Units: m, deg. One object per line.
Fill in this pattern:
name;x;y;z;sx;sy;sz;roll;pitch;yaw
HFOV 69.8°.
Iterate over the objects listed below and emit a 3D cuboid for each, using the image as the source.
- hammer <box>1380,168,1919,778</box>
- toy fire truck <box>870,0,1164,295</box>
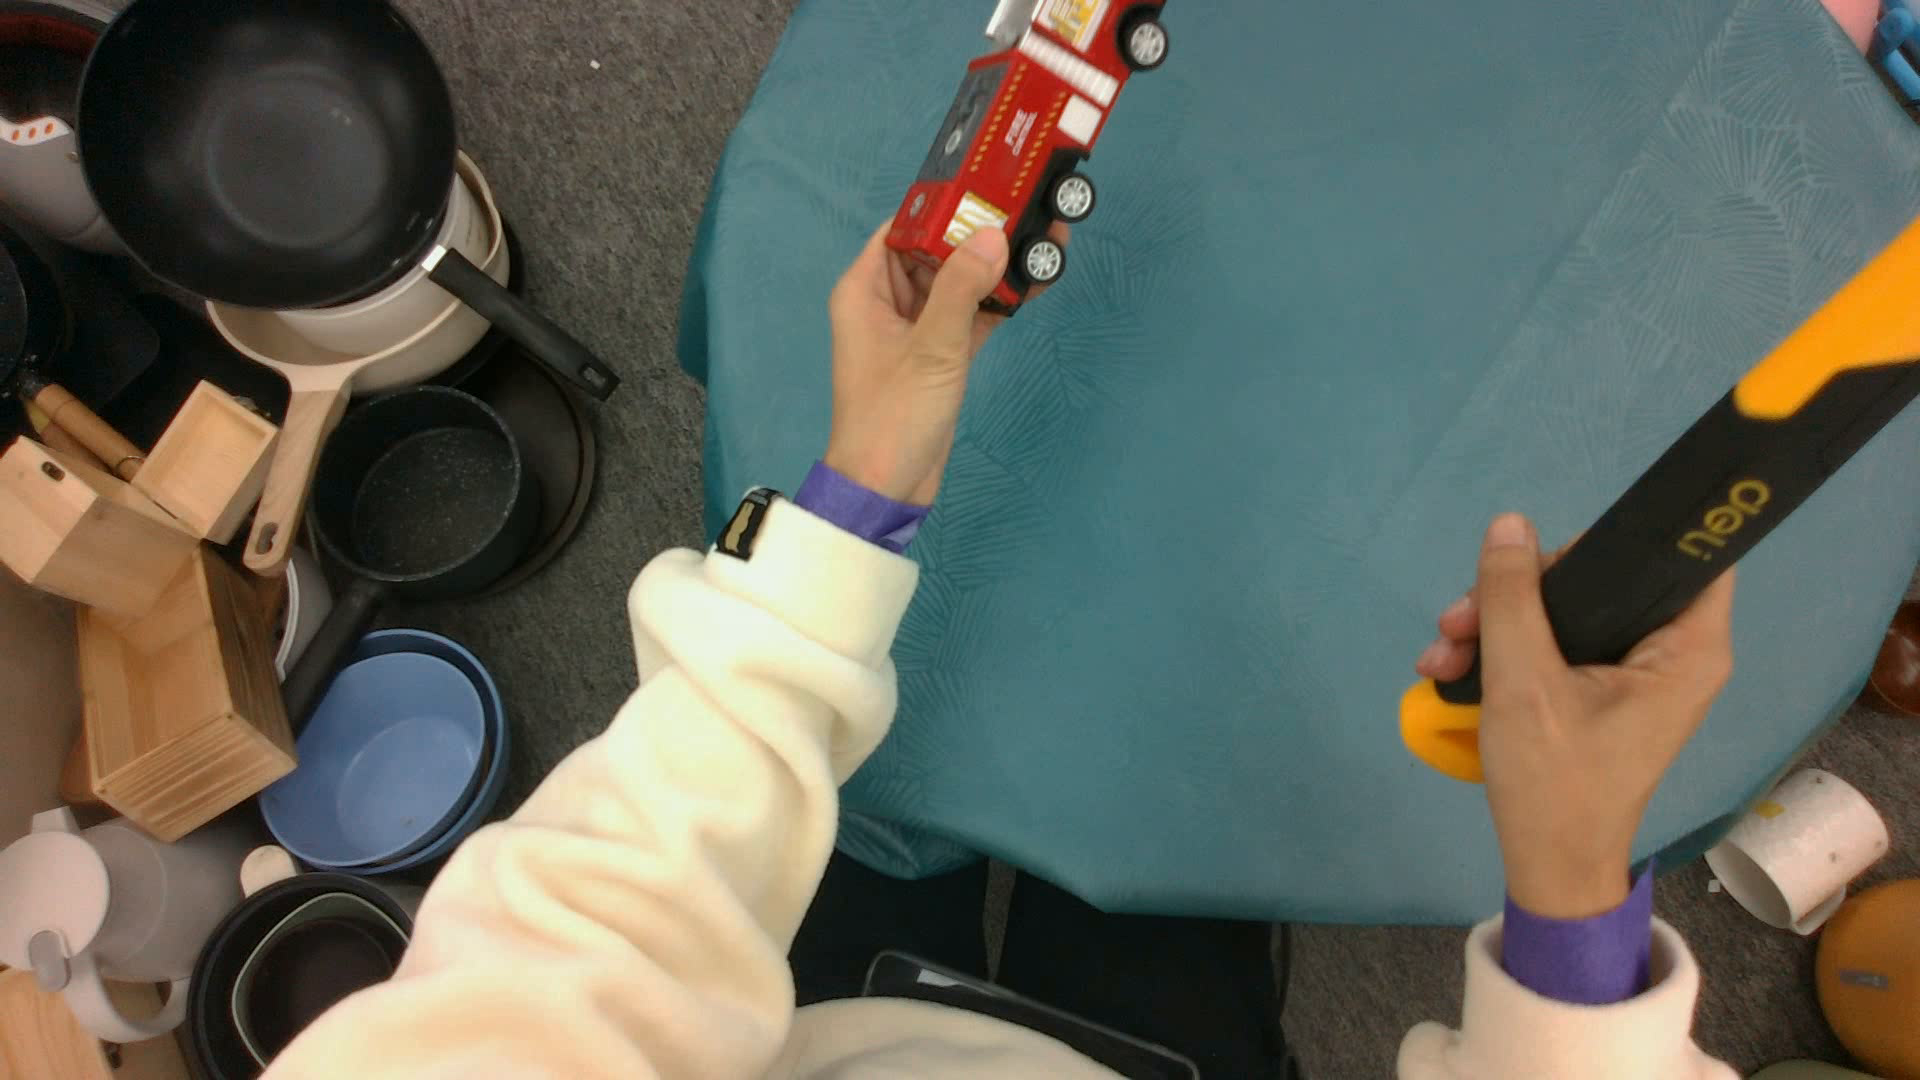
hammer;0.208;-0.035;0.352;0.131;0.336;0.032;27;46;1
toy fire truck;0.029;-0.172;0.494;0.070;0.054;0.168;24;92;-23
